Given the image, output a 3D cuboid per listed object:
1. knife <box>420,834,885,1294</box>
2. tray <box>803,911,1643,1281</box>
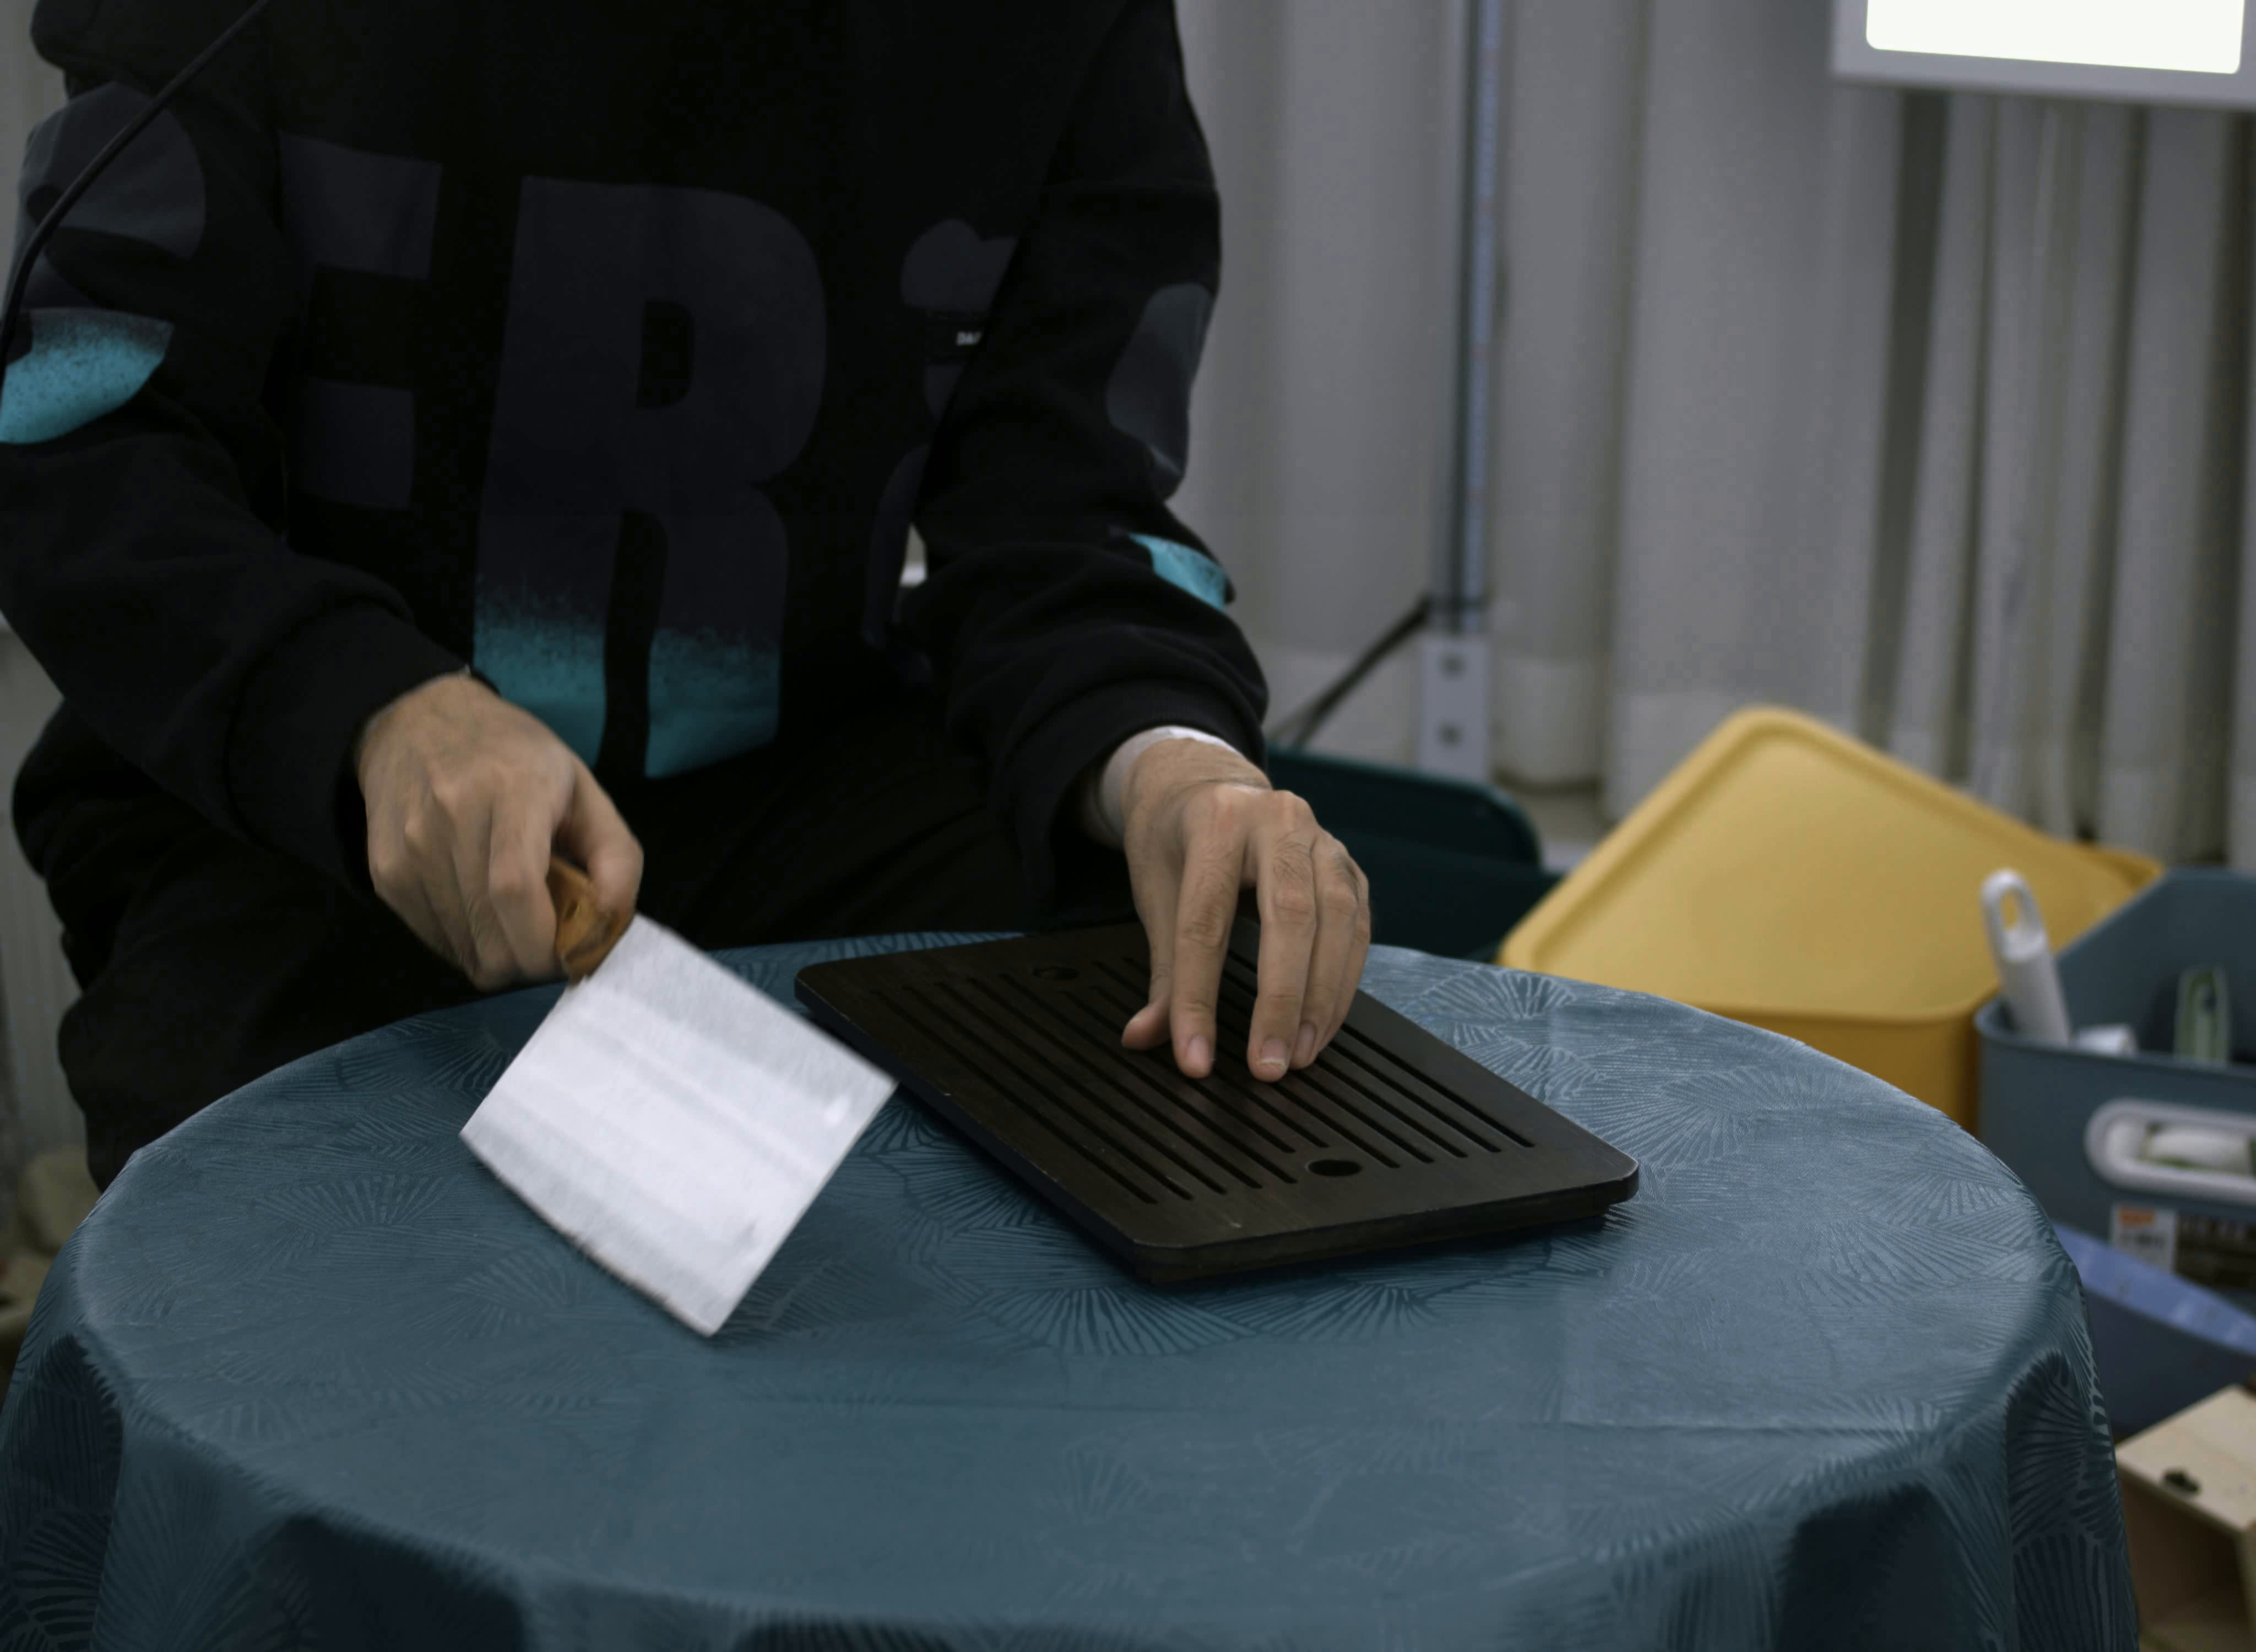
[{"bbox_3d":[-0.165,0.072,1.614,0.021,0.093,0.302,42,-7,-32],"label":"knife"},{"bbox_3d":[0.023,0.083,1.694,0.170,0.019,0.302,-7,17,-23],"label":"tray"}]
